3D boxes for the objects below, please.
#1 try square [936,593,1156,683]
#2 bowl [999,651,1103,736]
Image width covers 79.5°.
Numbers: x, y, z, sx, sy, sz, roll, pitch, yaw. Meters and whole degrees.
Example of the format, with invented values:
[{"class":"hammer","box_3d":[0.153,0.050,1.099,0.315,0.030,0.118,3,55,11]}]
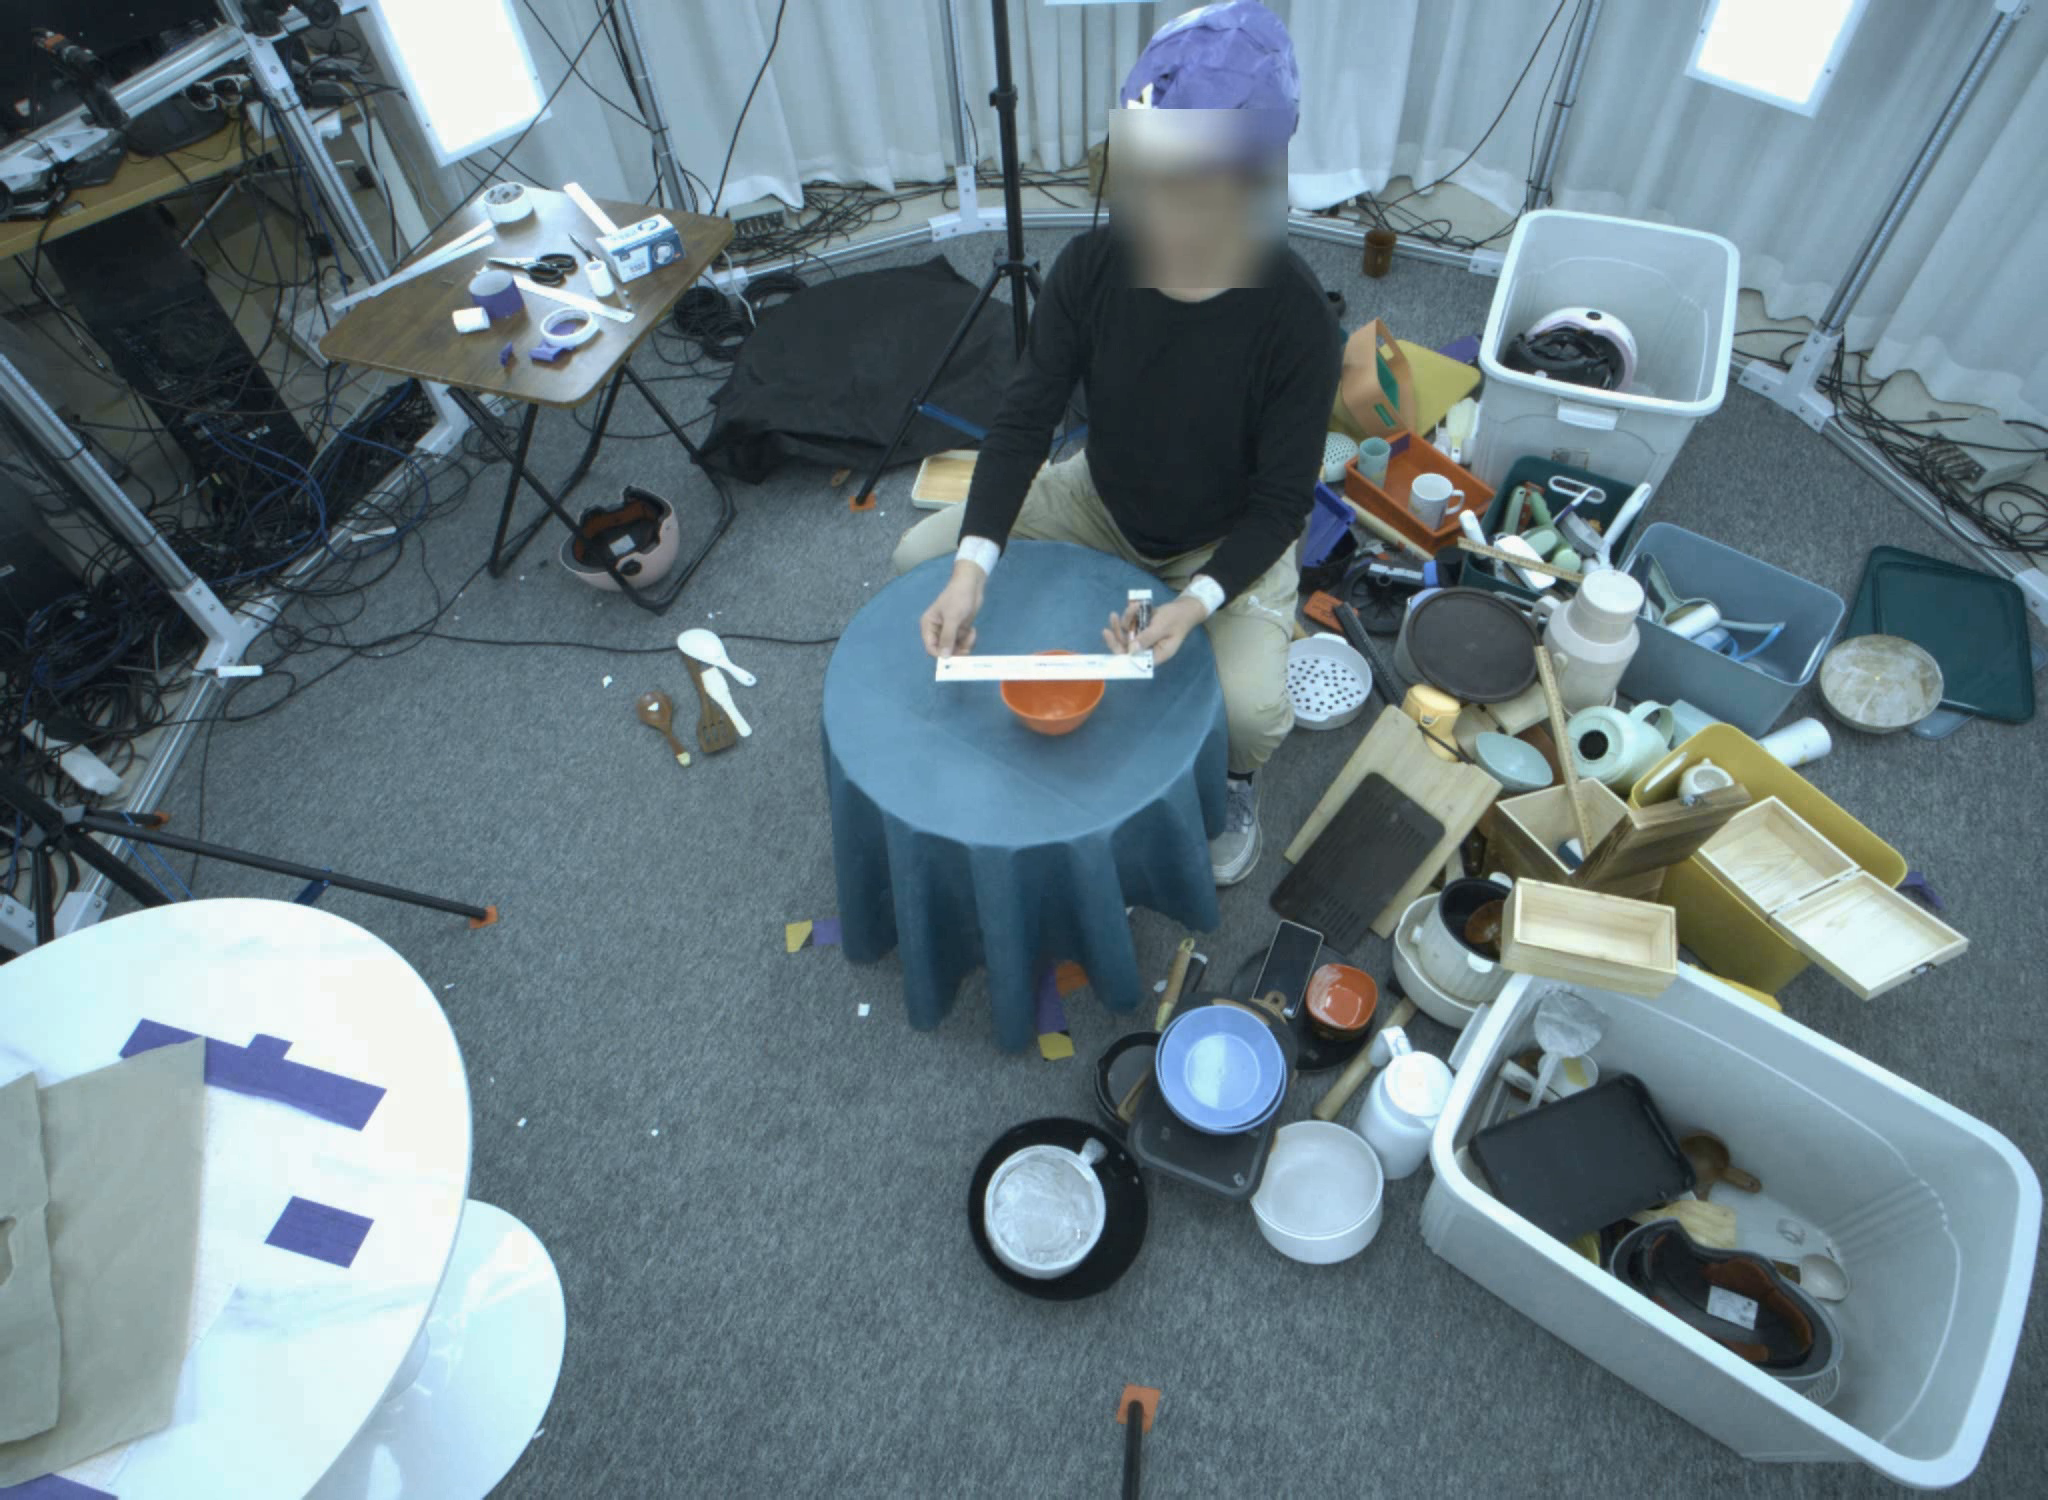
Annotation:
[{"class":"try square","box_3d":[0.034,-0.162,1.778,0.312,0.016,0.151,0,59,3]},{"class":"bowl","box_3d":[0.042,-0.068,1.773,0.148,0.106,0.146,-1,54,3]}]
